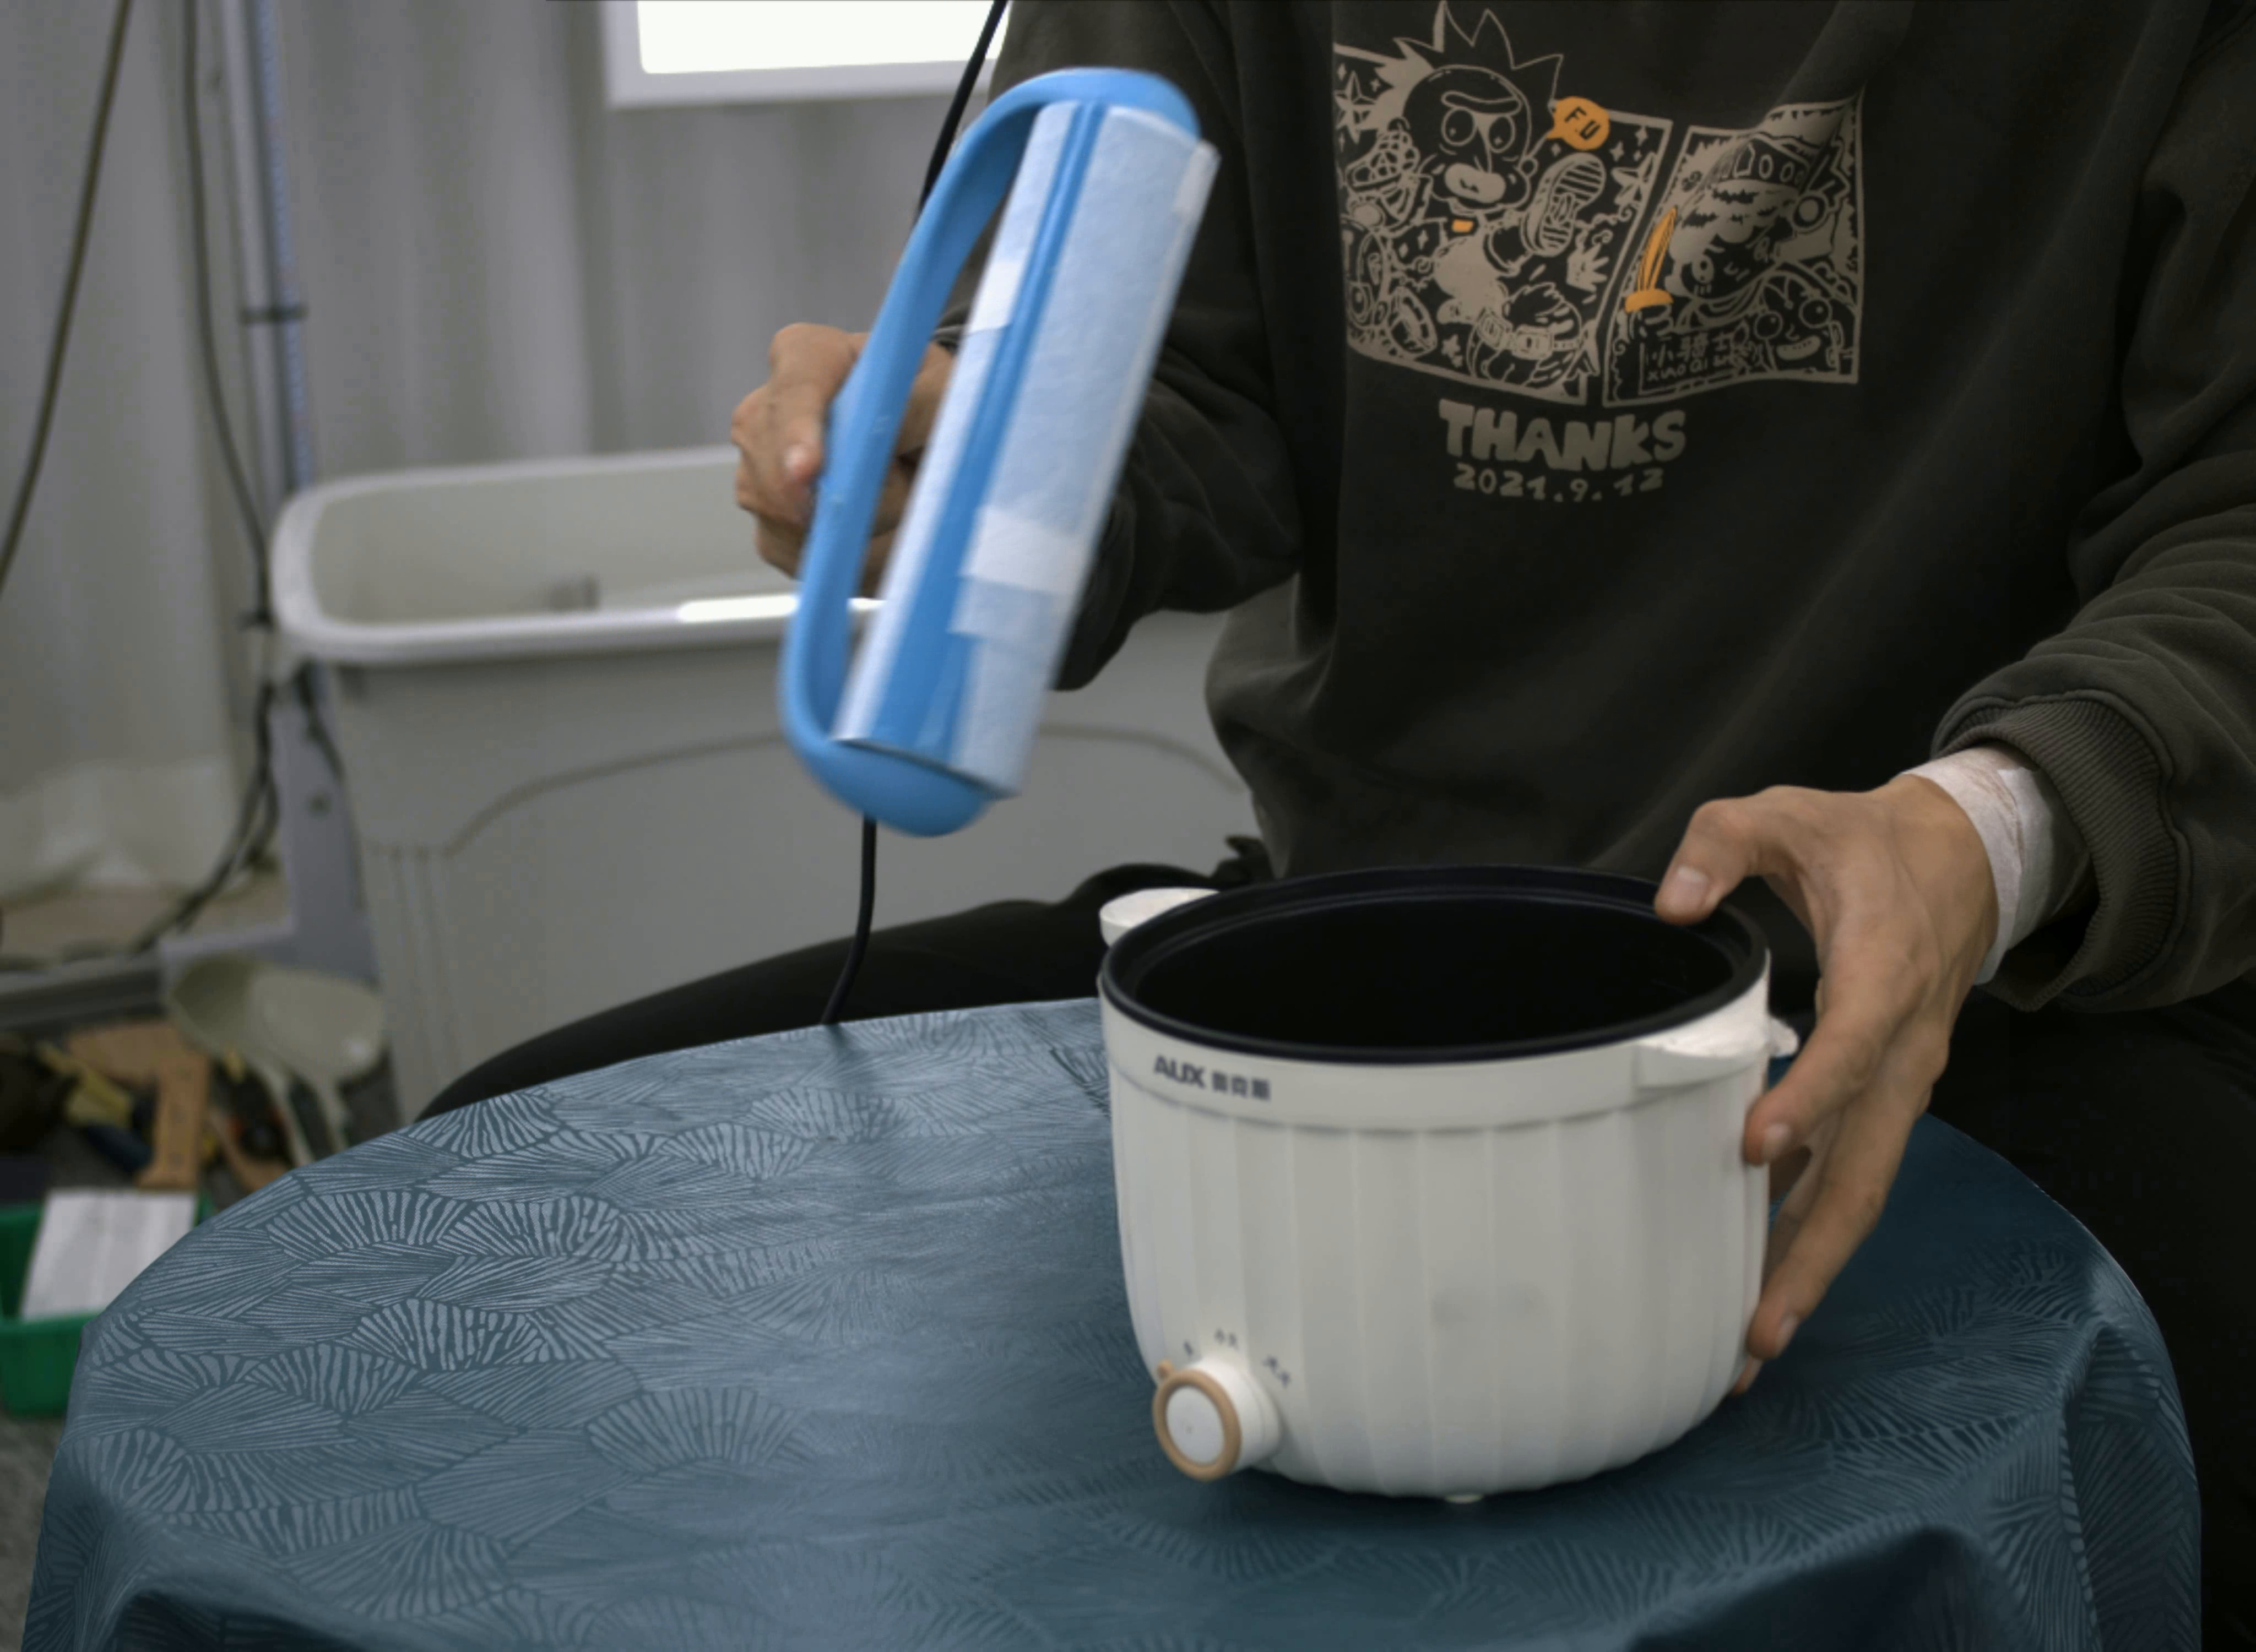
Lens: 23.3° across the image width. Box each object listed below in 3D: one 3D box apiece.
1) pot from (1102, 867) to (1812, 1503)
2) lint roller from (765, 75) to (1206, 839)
[{"bbox_3d":[0.084,0.100,1.493,0.241,0.142,0.190,10,15,44],"label":"pot"},{"bbox_3d":[-0.062,-0.106,1.610,0.067,0.230,0.181,22,-11,-26],"label":"lint roller"}]
